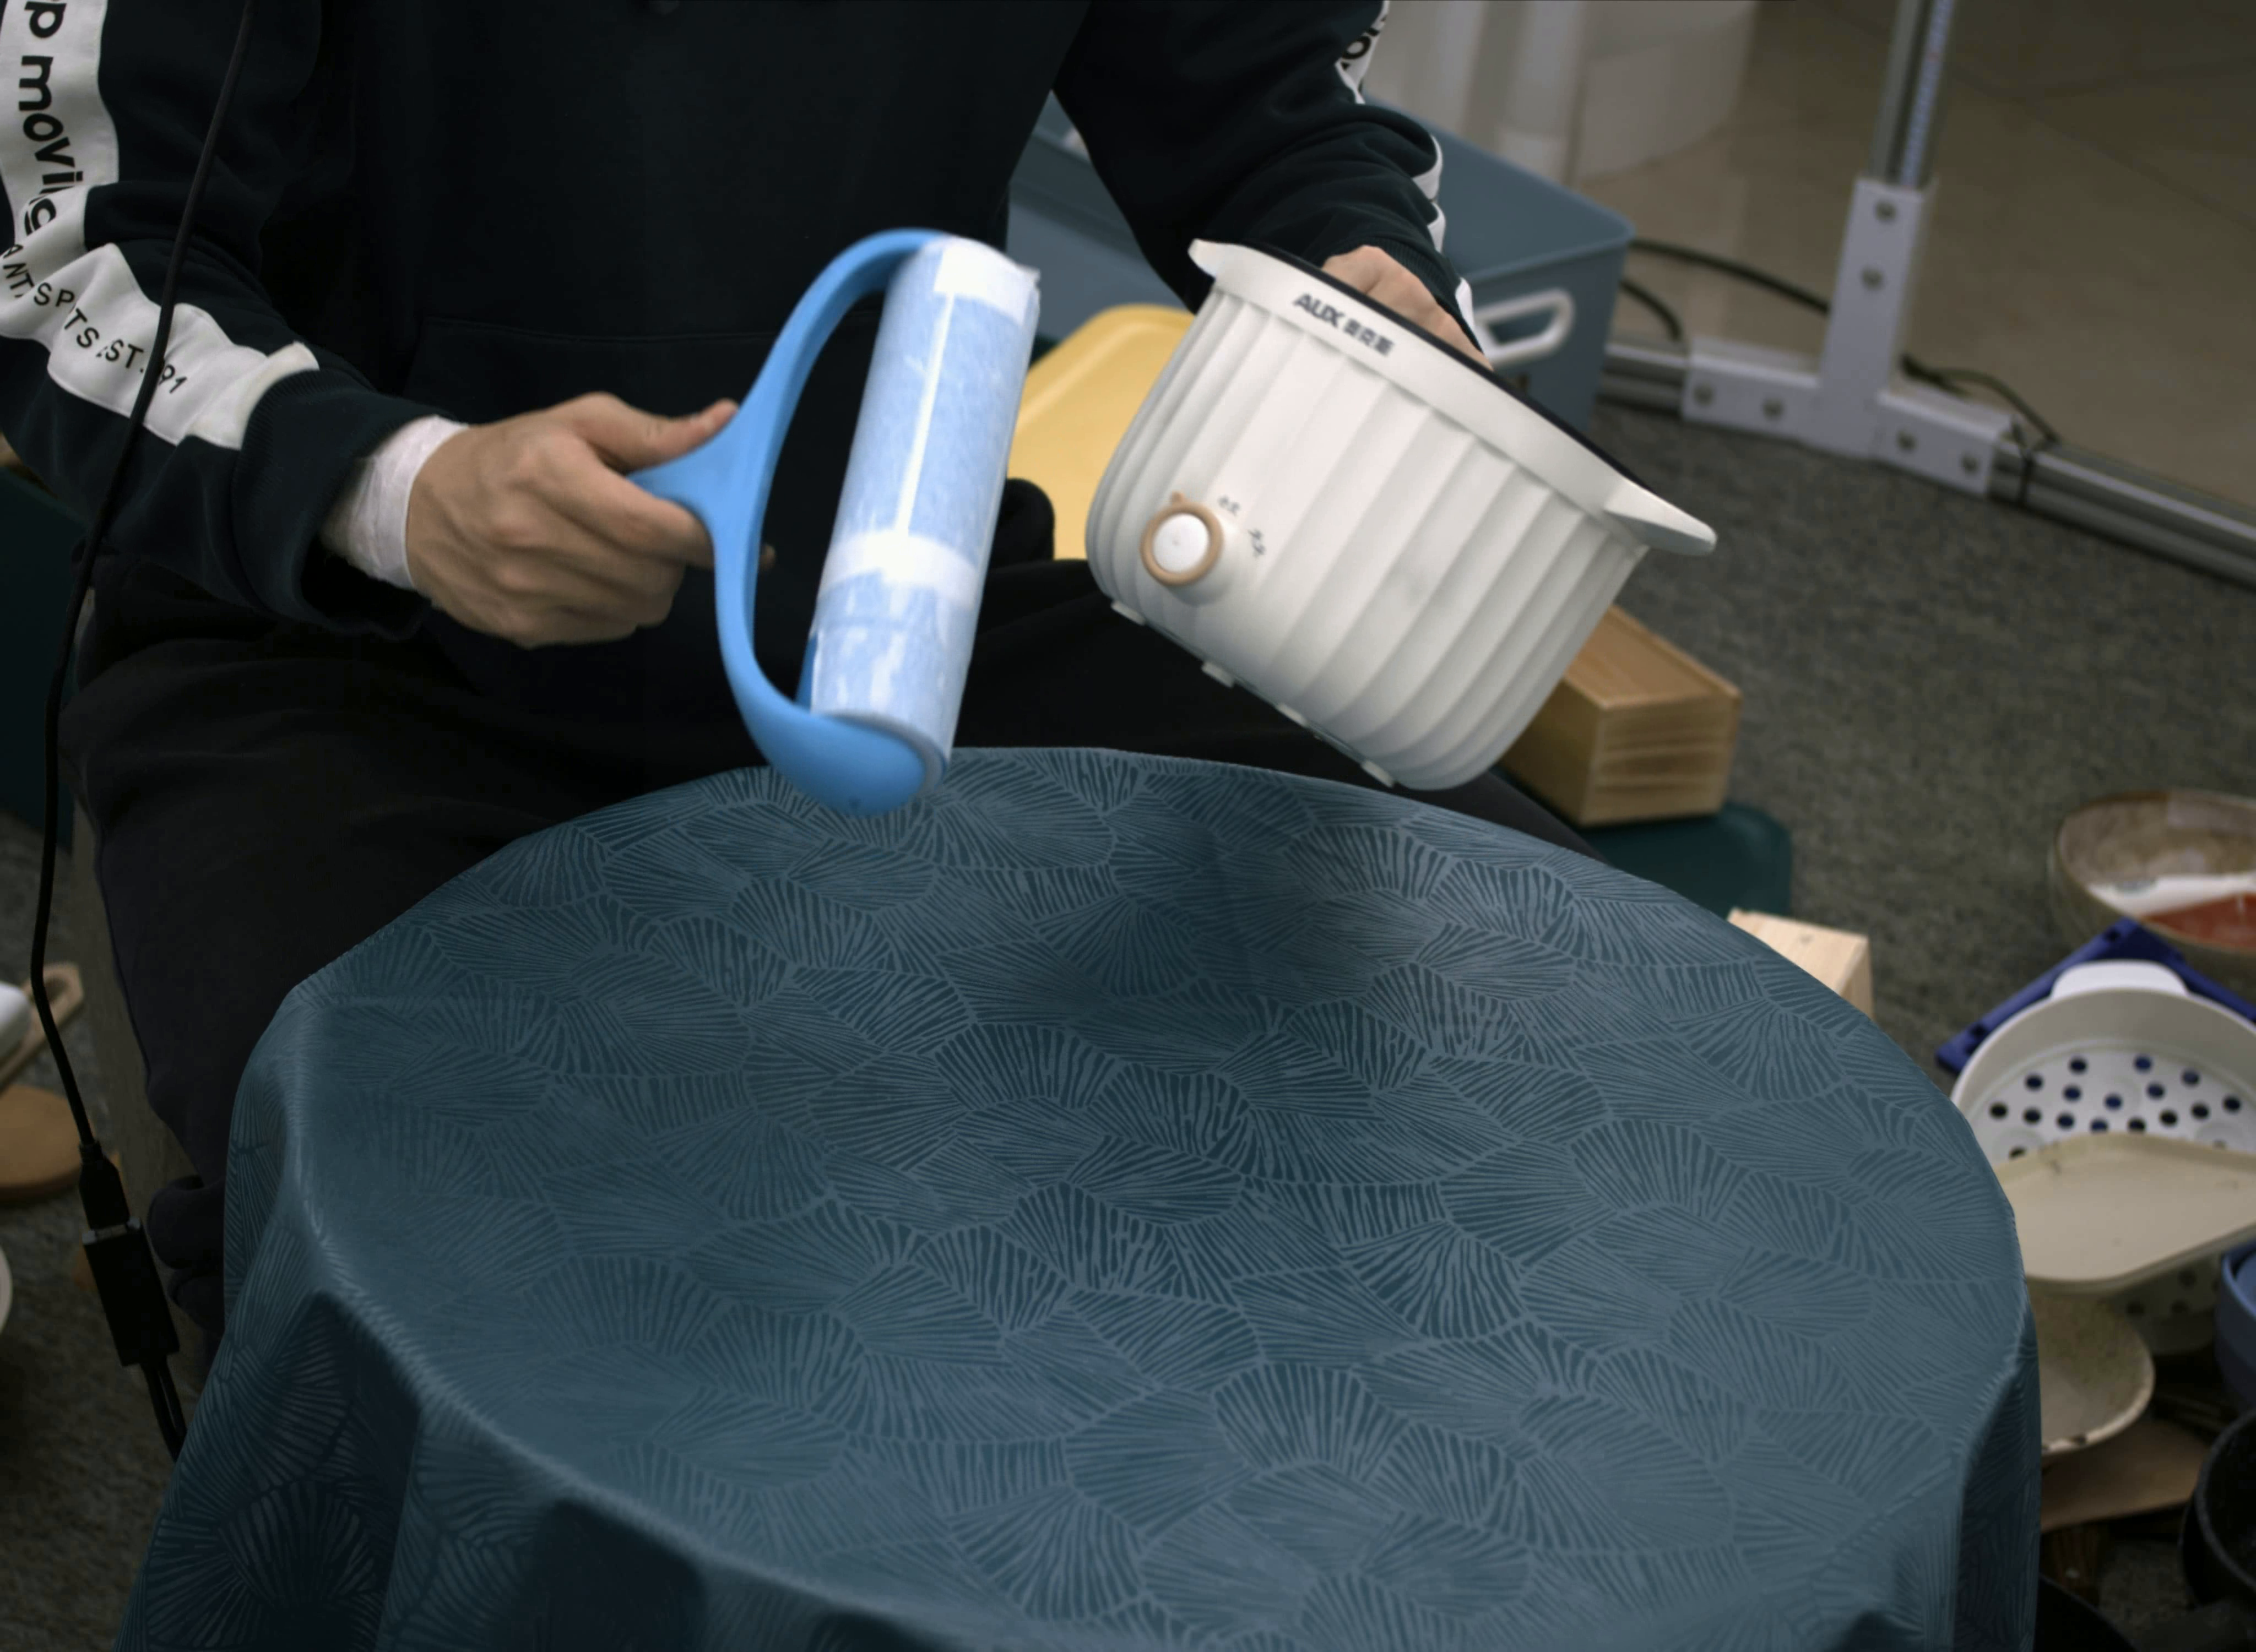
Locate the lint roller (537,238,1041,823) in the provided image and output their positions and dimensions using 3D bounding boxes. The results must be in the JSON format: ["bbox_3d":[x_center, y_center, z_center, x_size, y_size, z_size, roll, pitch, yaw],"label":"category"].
[{"bbox_3d":[-0.125,-0.096,1.792,0.180,0.067,0.230,-5,56,16],"label":"lint roller"}]

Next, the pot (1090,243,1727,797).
[{"bbox_3d":[0.081,-0.102,1.885,0.242,0.143,0.189,31,-4,29],"label":"pot"}]
